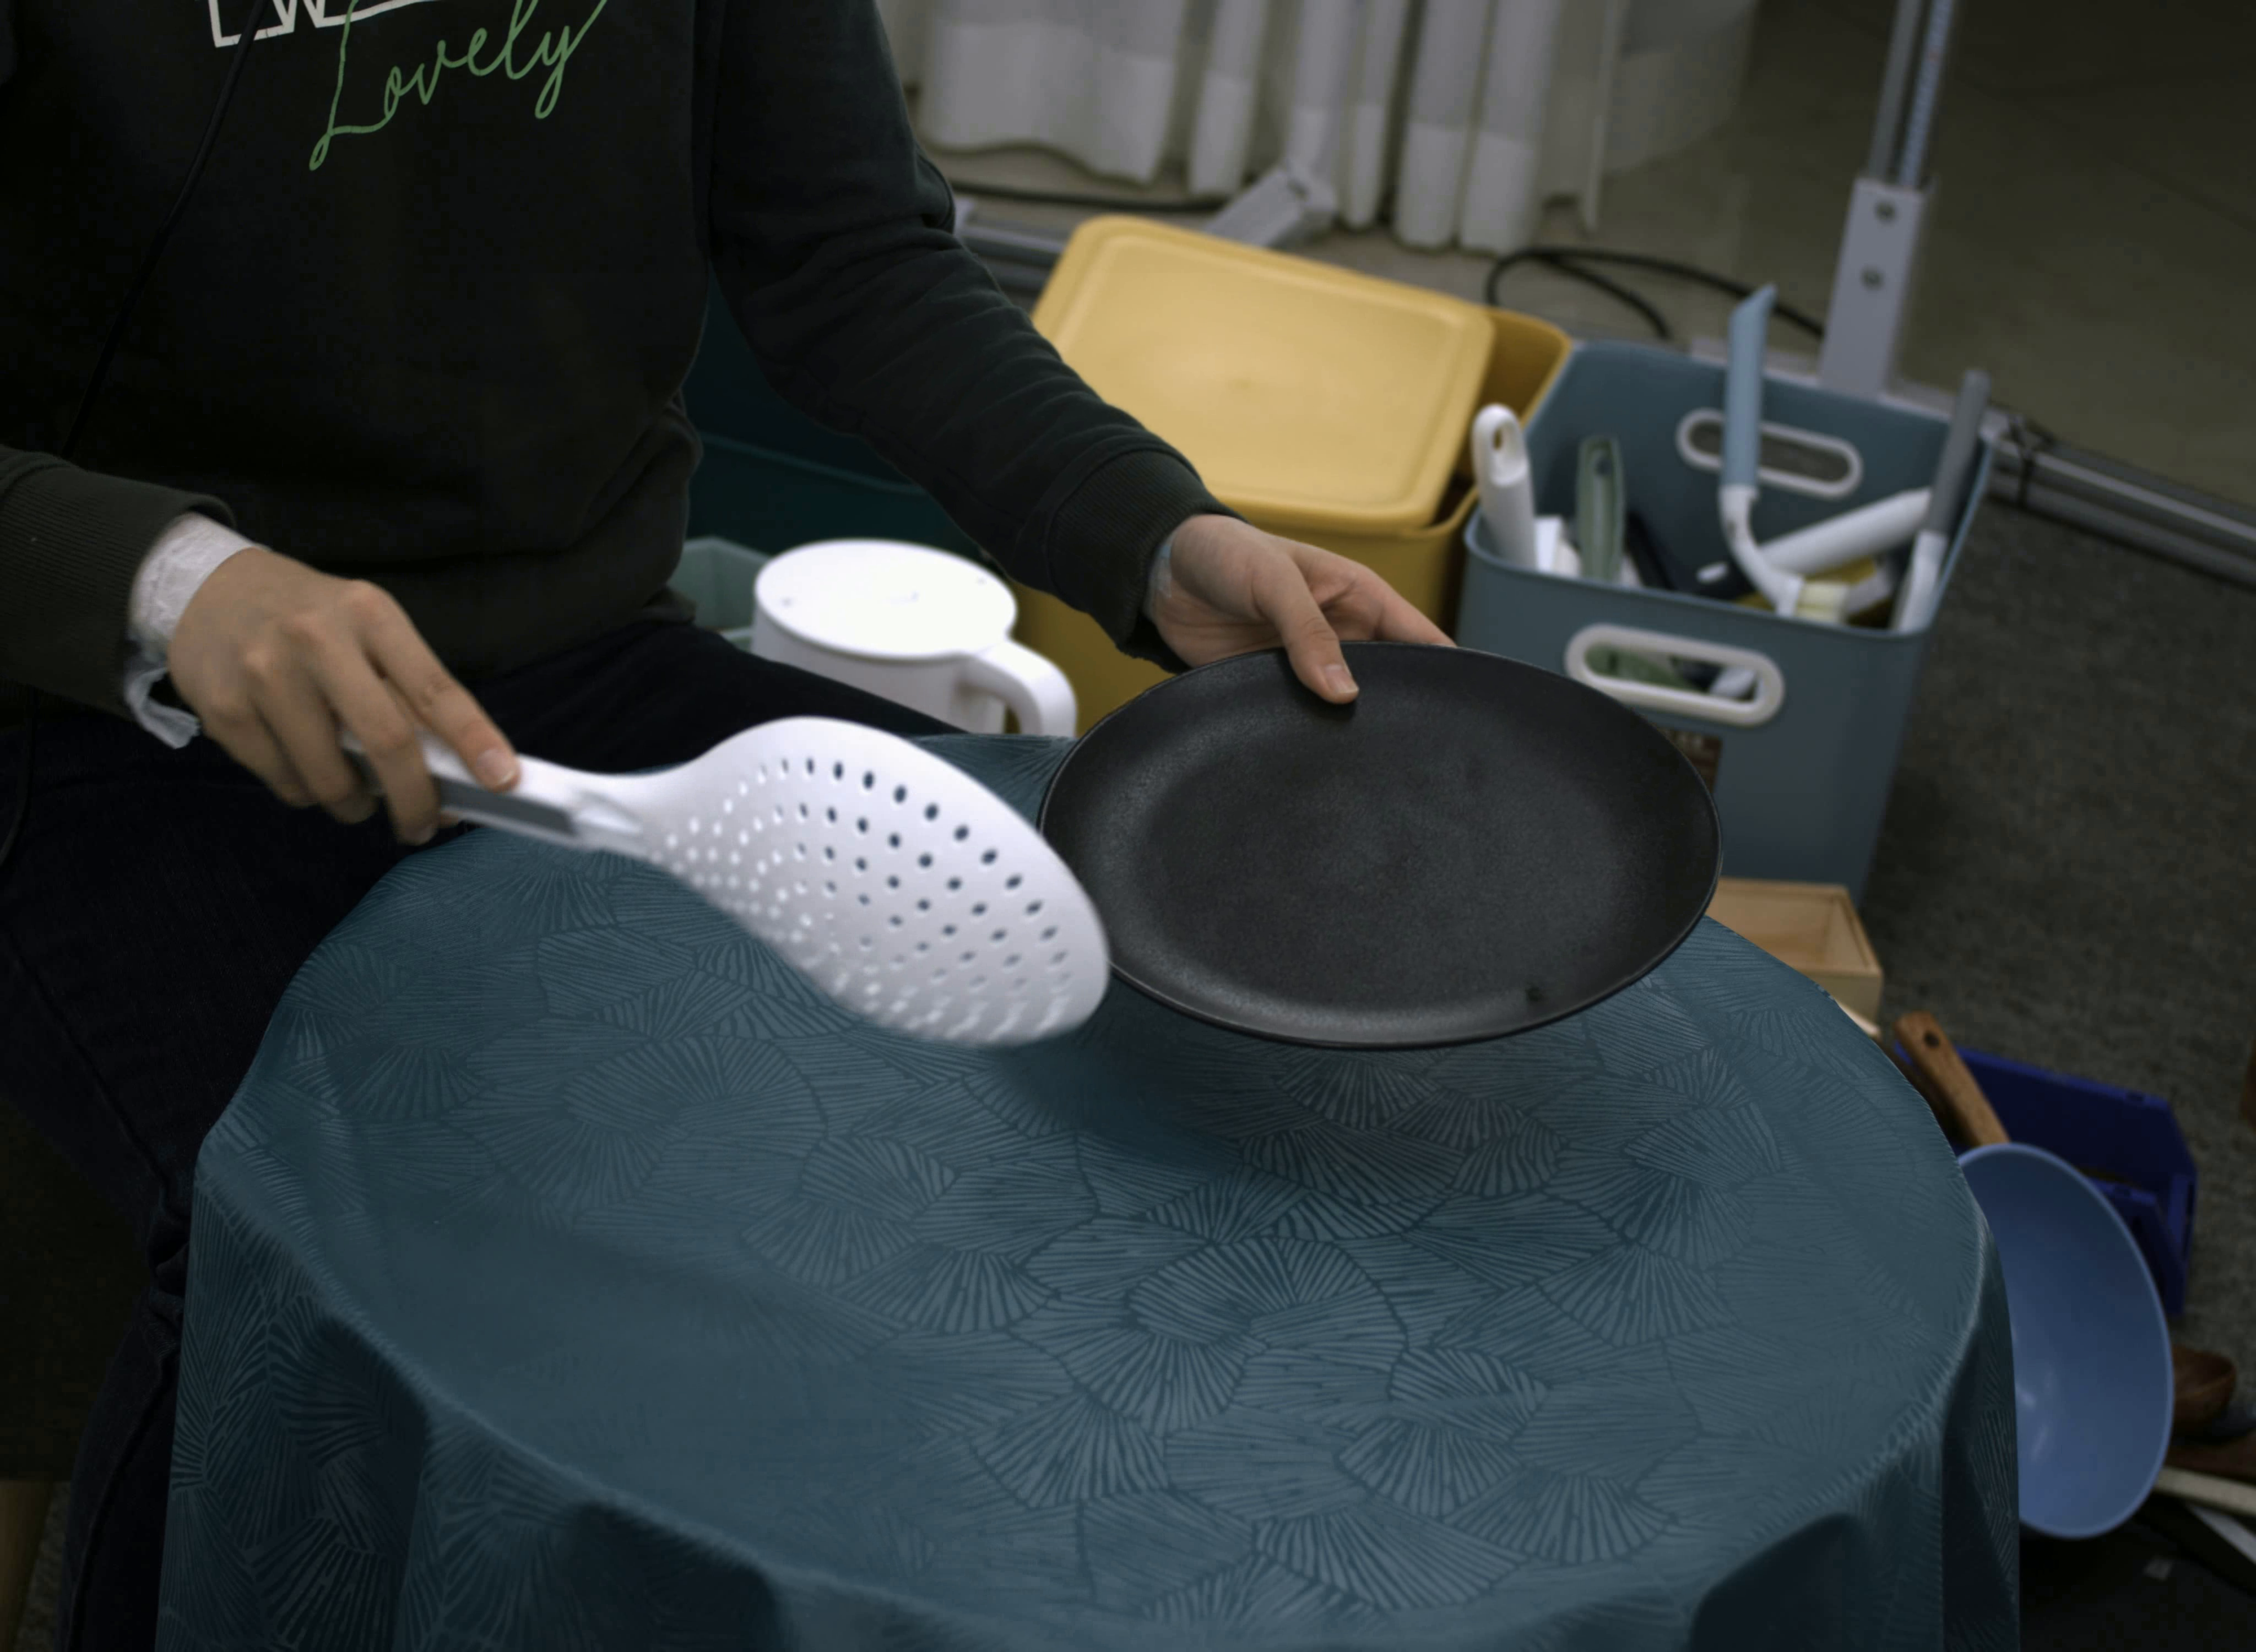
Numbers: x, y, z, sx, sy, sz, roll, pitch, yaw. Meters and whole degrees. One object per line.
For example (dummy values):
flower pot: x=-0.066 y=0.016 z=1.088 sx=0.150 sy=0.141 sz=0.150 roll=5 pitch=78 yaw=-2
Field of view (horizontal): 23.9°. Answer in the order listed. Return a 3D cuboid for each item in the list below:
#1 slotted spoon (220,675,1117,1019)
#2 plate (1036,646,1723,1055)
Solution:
slotted spoon: x=-0.155 y=-0.006 z=1.681 sx=0.352 sy=0.135 sz=0.046 roll=17 pitch=56 yaw=36
plate: x=0.088 y=0.011 z=1.883 sx=0.244 sy=0.023 sz=0.246 roll=-1 pitch=35 yaw=1
